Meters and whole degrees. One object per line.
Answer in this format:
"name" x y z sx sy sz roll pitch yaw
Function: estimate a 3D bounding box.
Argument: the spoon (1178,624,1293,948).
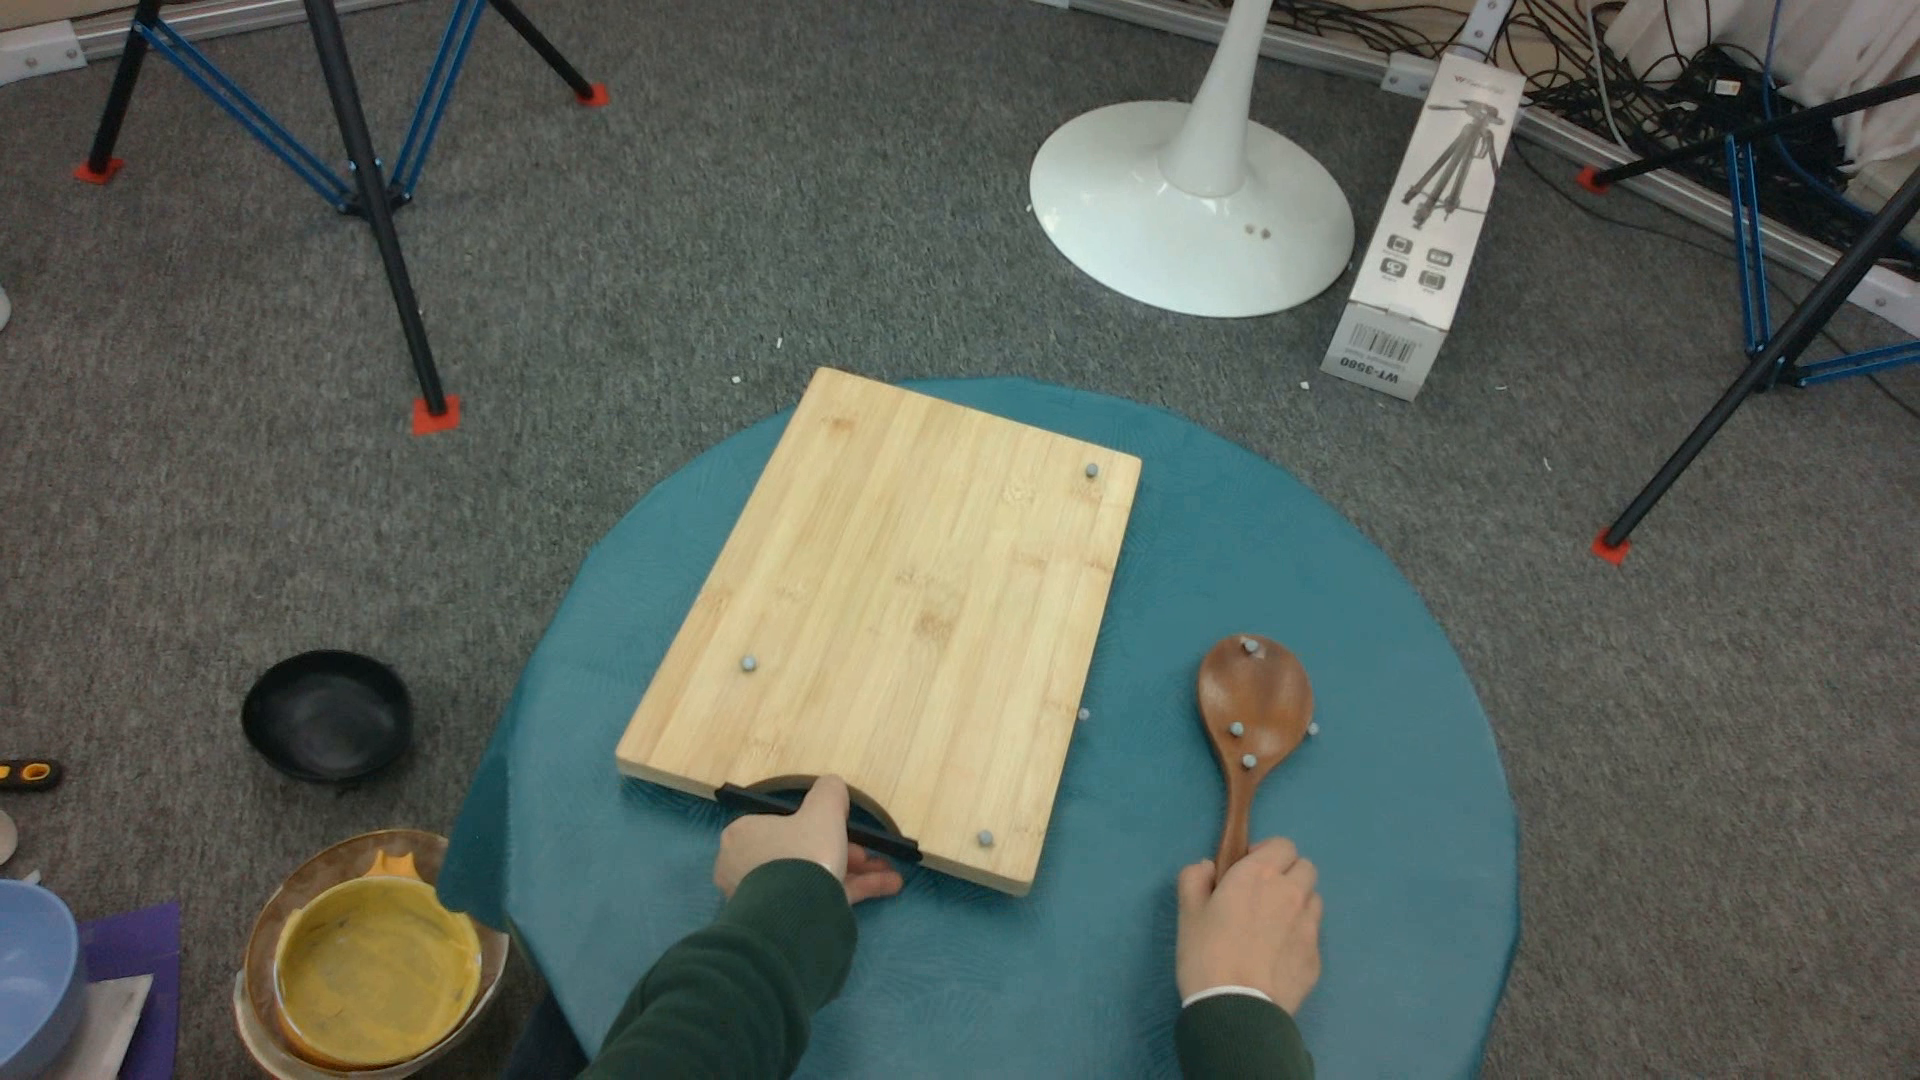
"spoon" 0.156 0.140 0.817 0.075 0.017 0.217 19 51 -2

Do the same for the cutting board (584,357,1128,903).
"cutting board" -0.044 0.035 0.858 0.250 0.023 0.350 16 50 3
